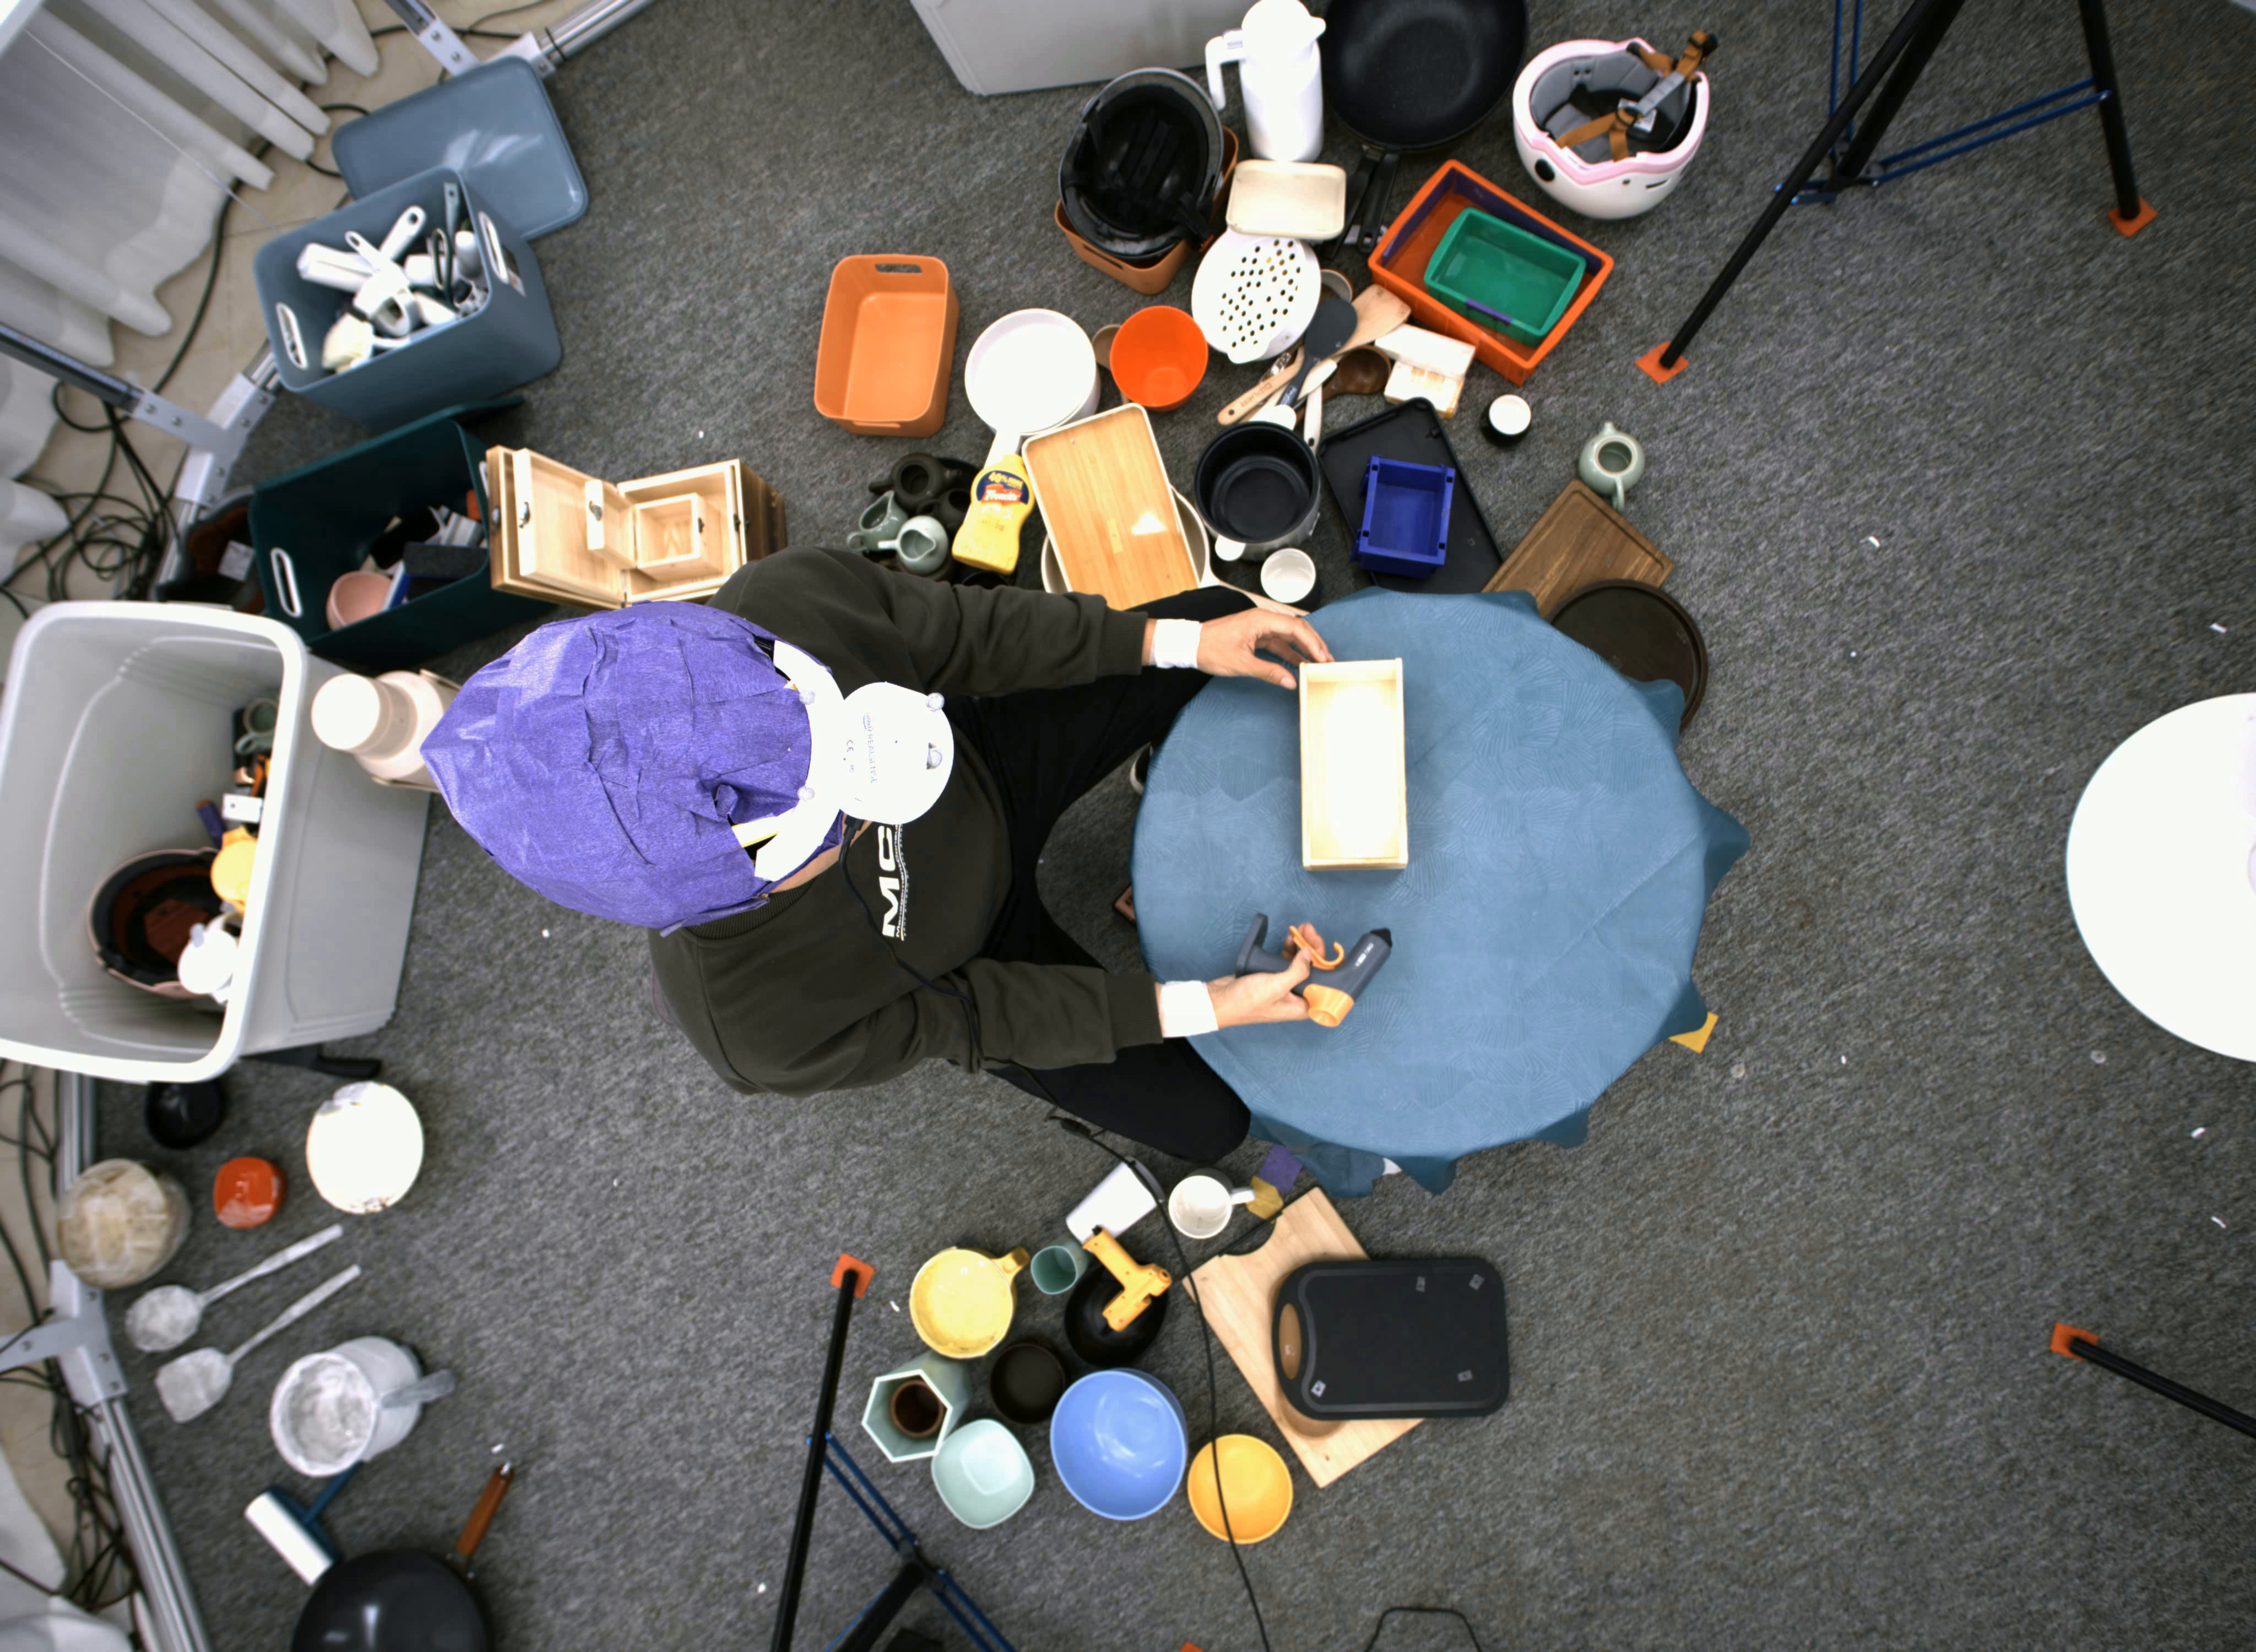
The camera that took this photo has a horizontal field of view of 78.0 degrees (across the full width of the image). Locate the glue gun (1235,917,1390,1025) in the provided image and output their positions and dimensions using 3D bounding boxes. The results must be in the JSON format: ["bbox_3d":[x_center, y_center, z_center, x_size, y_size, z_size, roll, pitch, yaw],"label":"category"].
[{"bbox_3d":[0.188,0.138,1.403,0.140,0.042,0.115,15,51,16],"label":"glue gun"}]

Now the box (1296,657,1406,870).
[{"bbox_3d":[0.233,-0.063,1.434,0.108,0.080,0.210,-1,86,11],"label":"box"}]
